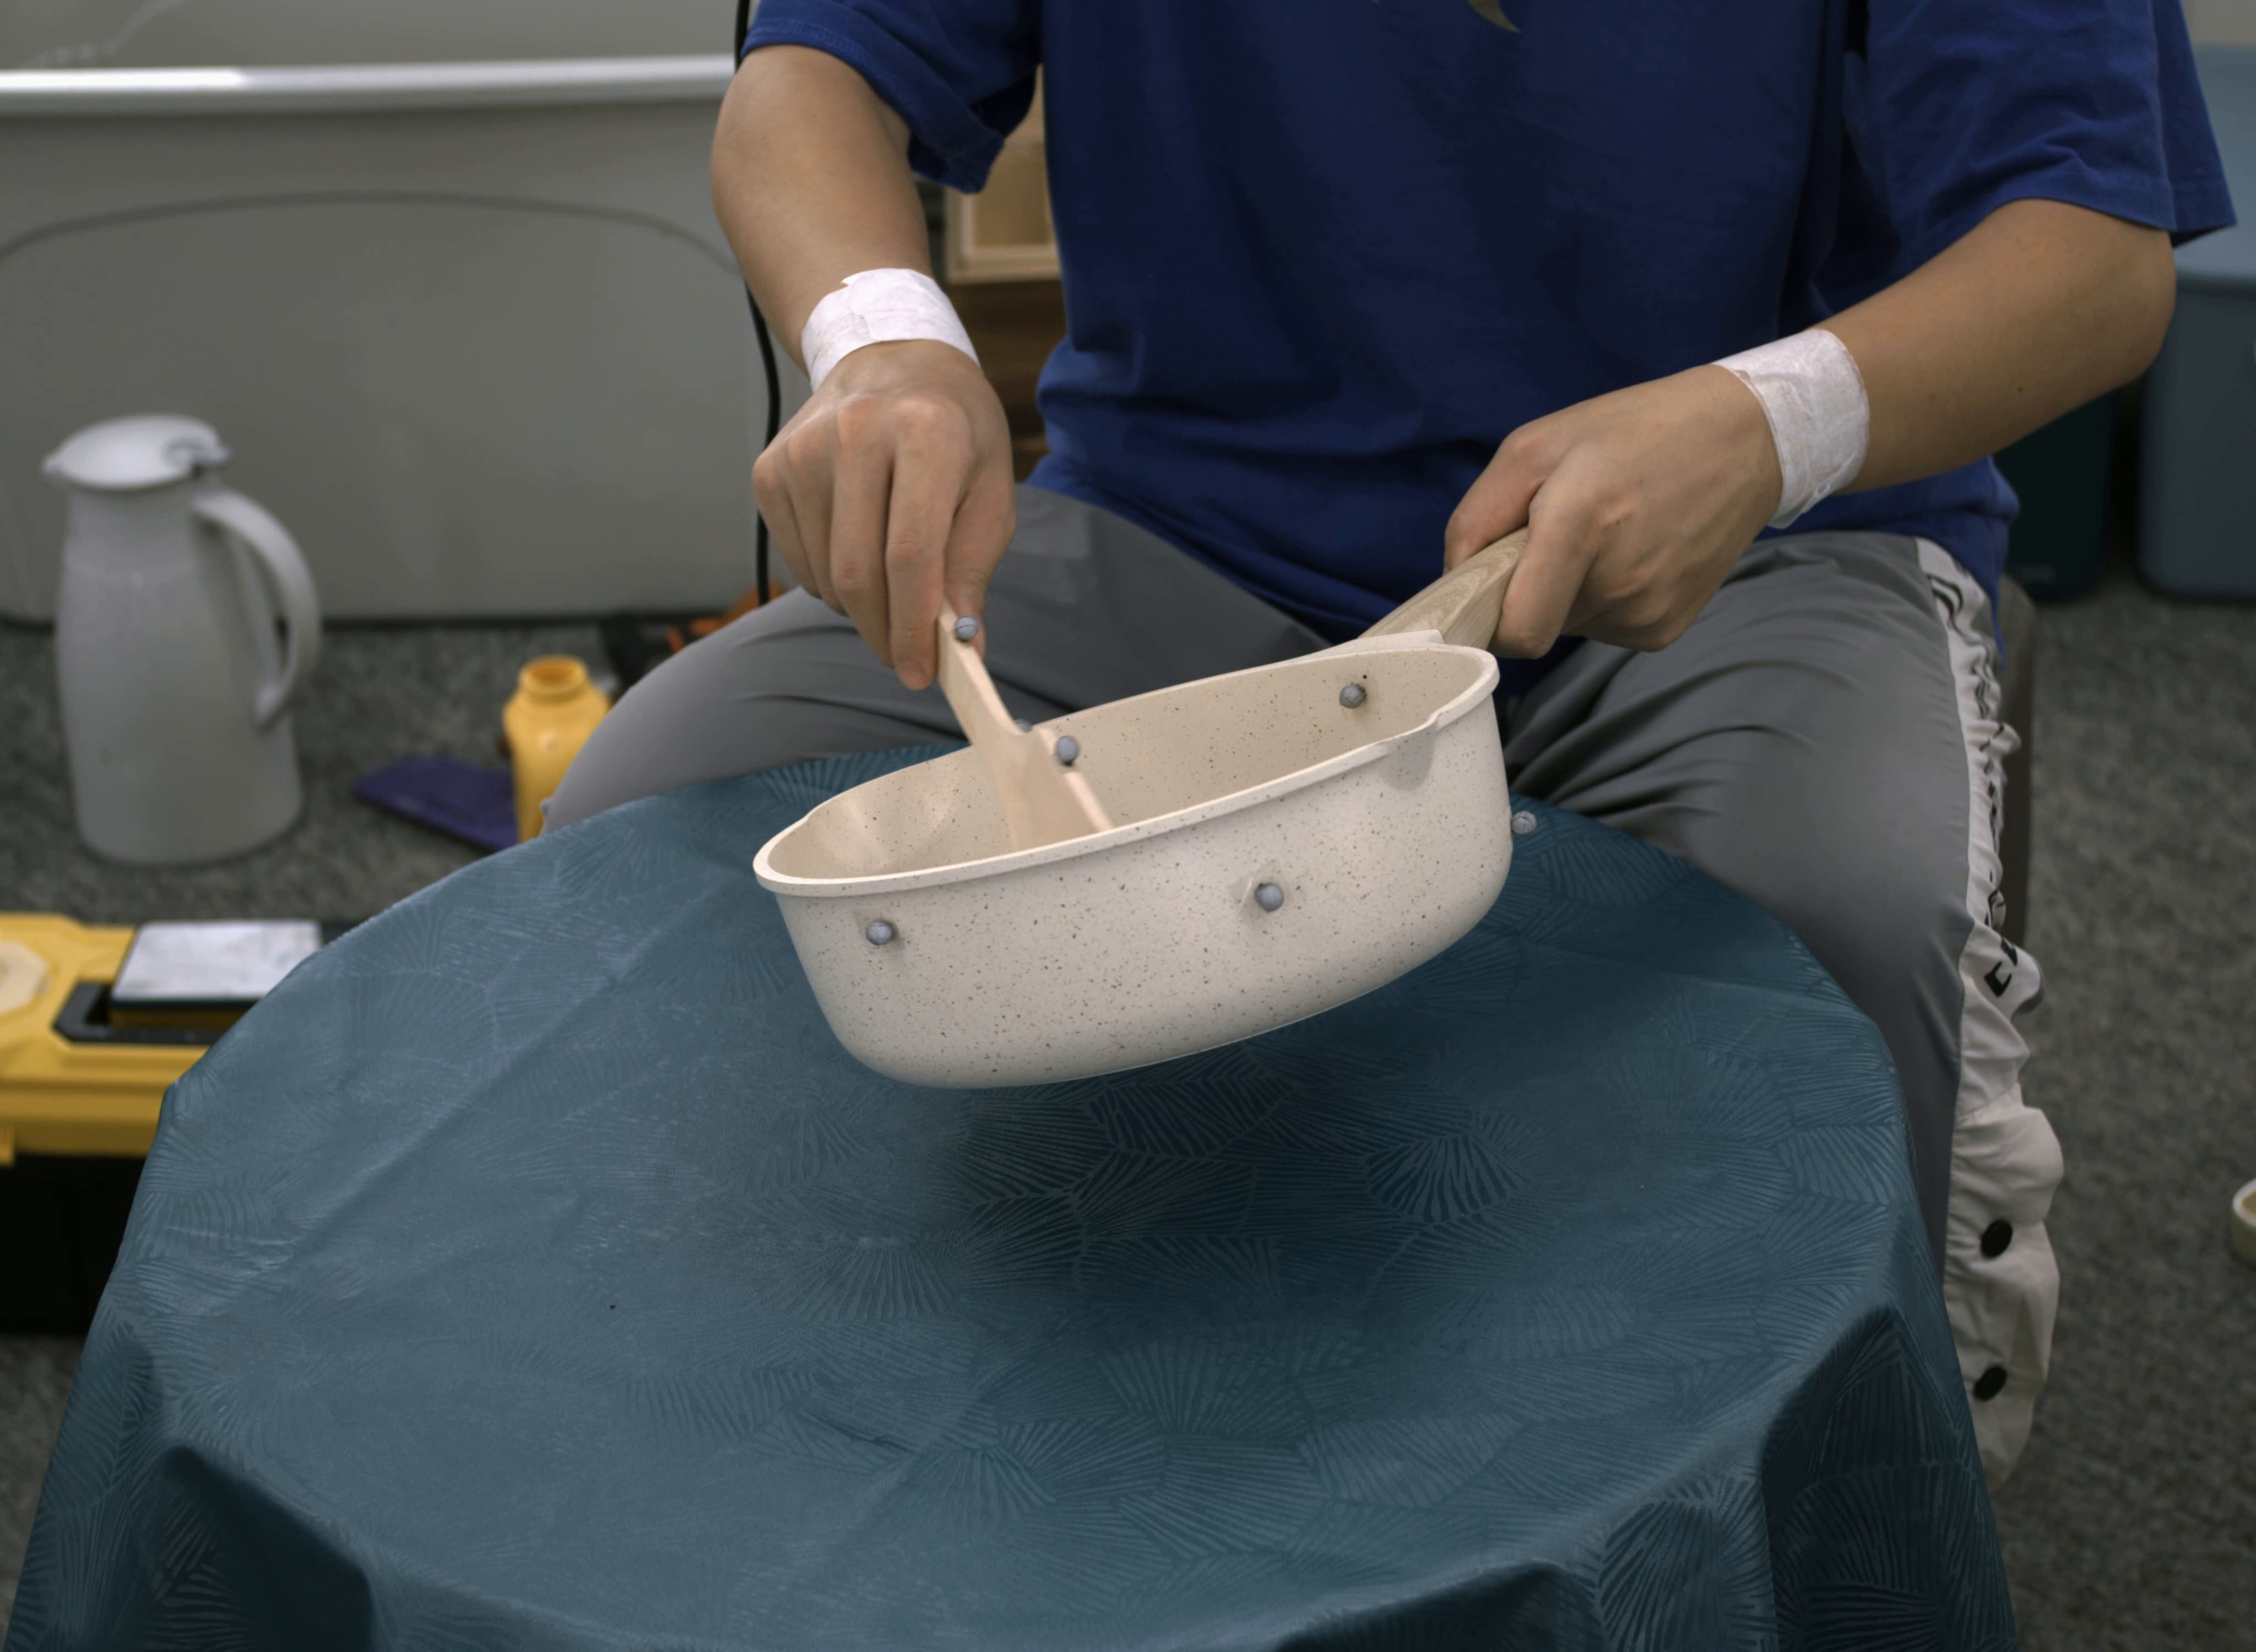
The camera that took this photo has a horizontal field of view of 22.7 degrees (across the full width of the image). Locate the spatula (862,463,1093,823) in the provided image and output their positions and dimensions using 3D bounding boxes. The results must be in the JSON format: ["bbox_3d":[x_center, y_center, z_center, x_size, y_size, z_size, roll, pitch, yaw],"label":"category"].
[{"bbox_3d":[-0.049,-0.042,1.886,0.010,0.071,0.296,-8,35,-16],"label":"spatula"}]

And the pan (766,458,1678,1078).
[{"bbox_3d":[0.069,-0.021,1.898,0.260,0.102,0.440,-9,11,43],"label":"pan"}]
